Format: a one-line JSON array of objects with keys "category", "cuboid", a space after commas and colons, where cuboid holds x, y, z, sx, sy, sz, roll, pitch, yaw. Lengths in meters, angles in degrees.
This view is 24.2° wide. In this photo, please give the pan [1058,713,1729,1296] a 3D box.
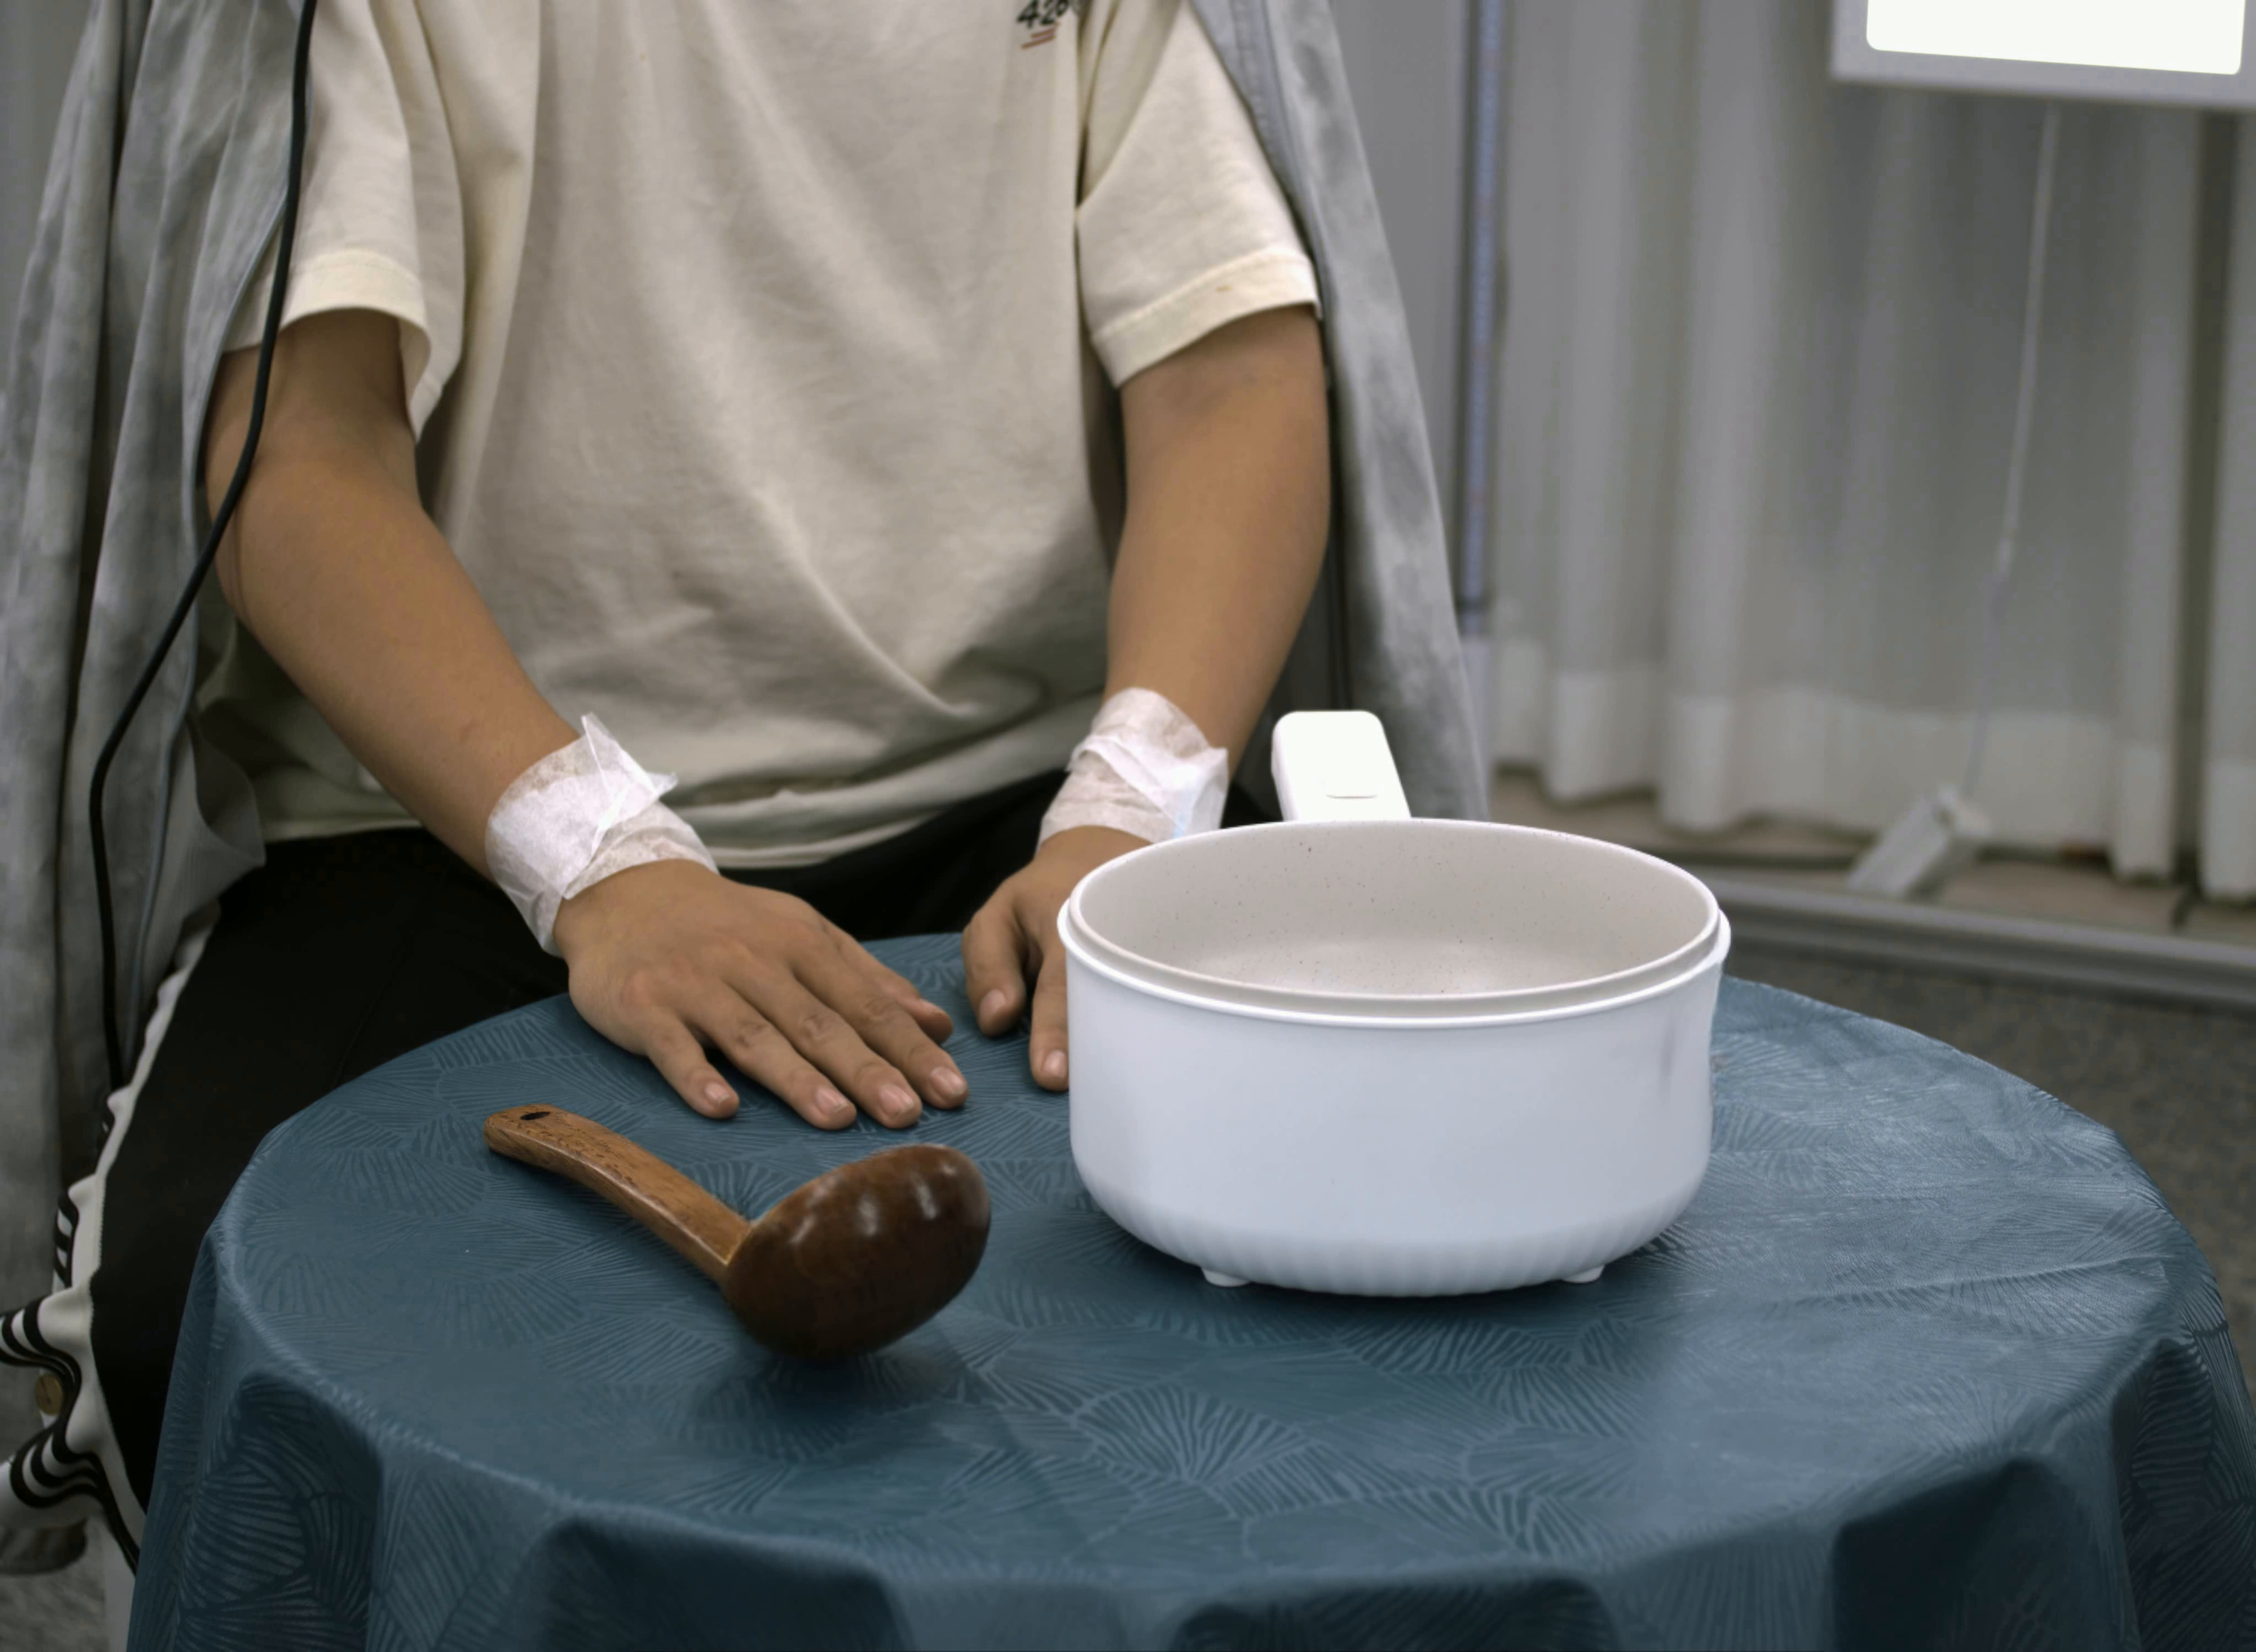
[{"category": "pan", "cuboid": [0.077, 0.051, 1.663, 0.201, 0.103, 0.353, -1, 15, -2]}]

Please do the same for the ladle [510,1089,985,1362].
[{"category": "ladle", "cuboid": [-0.127, 0.093, 1.542, 0.082, 0.077, 0.270, -10, 20, -27]}]
